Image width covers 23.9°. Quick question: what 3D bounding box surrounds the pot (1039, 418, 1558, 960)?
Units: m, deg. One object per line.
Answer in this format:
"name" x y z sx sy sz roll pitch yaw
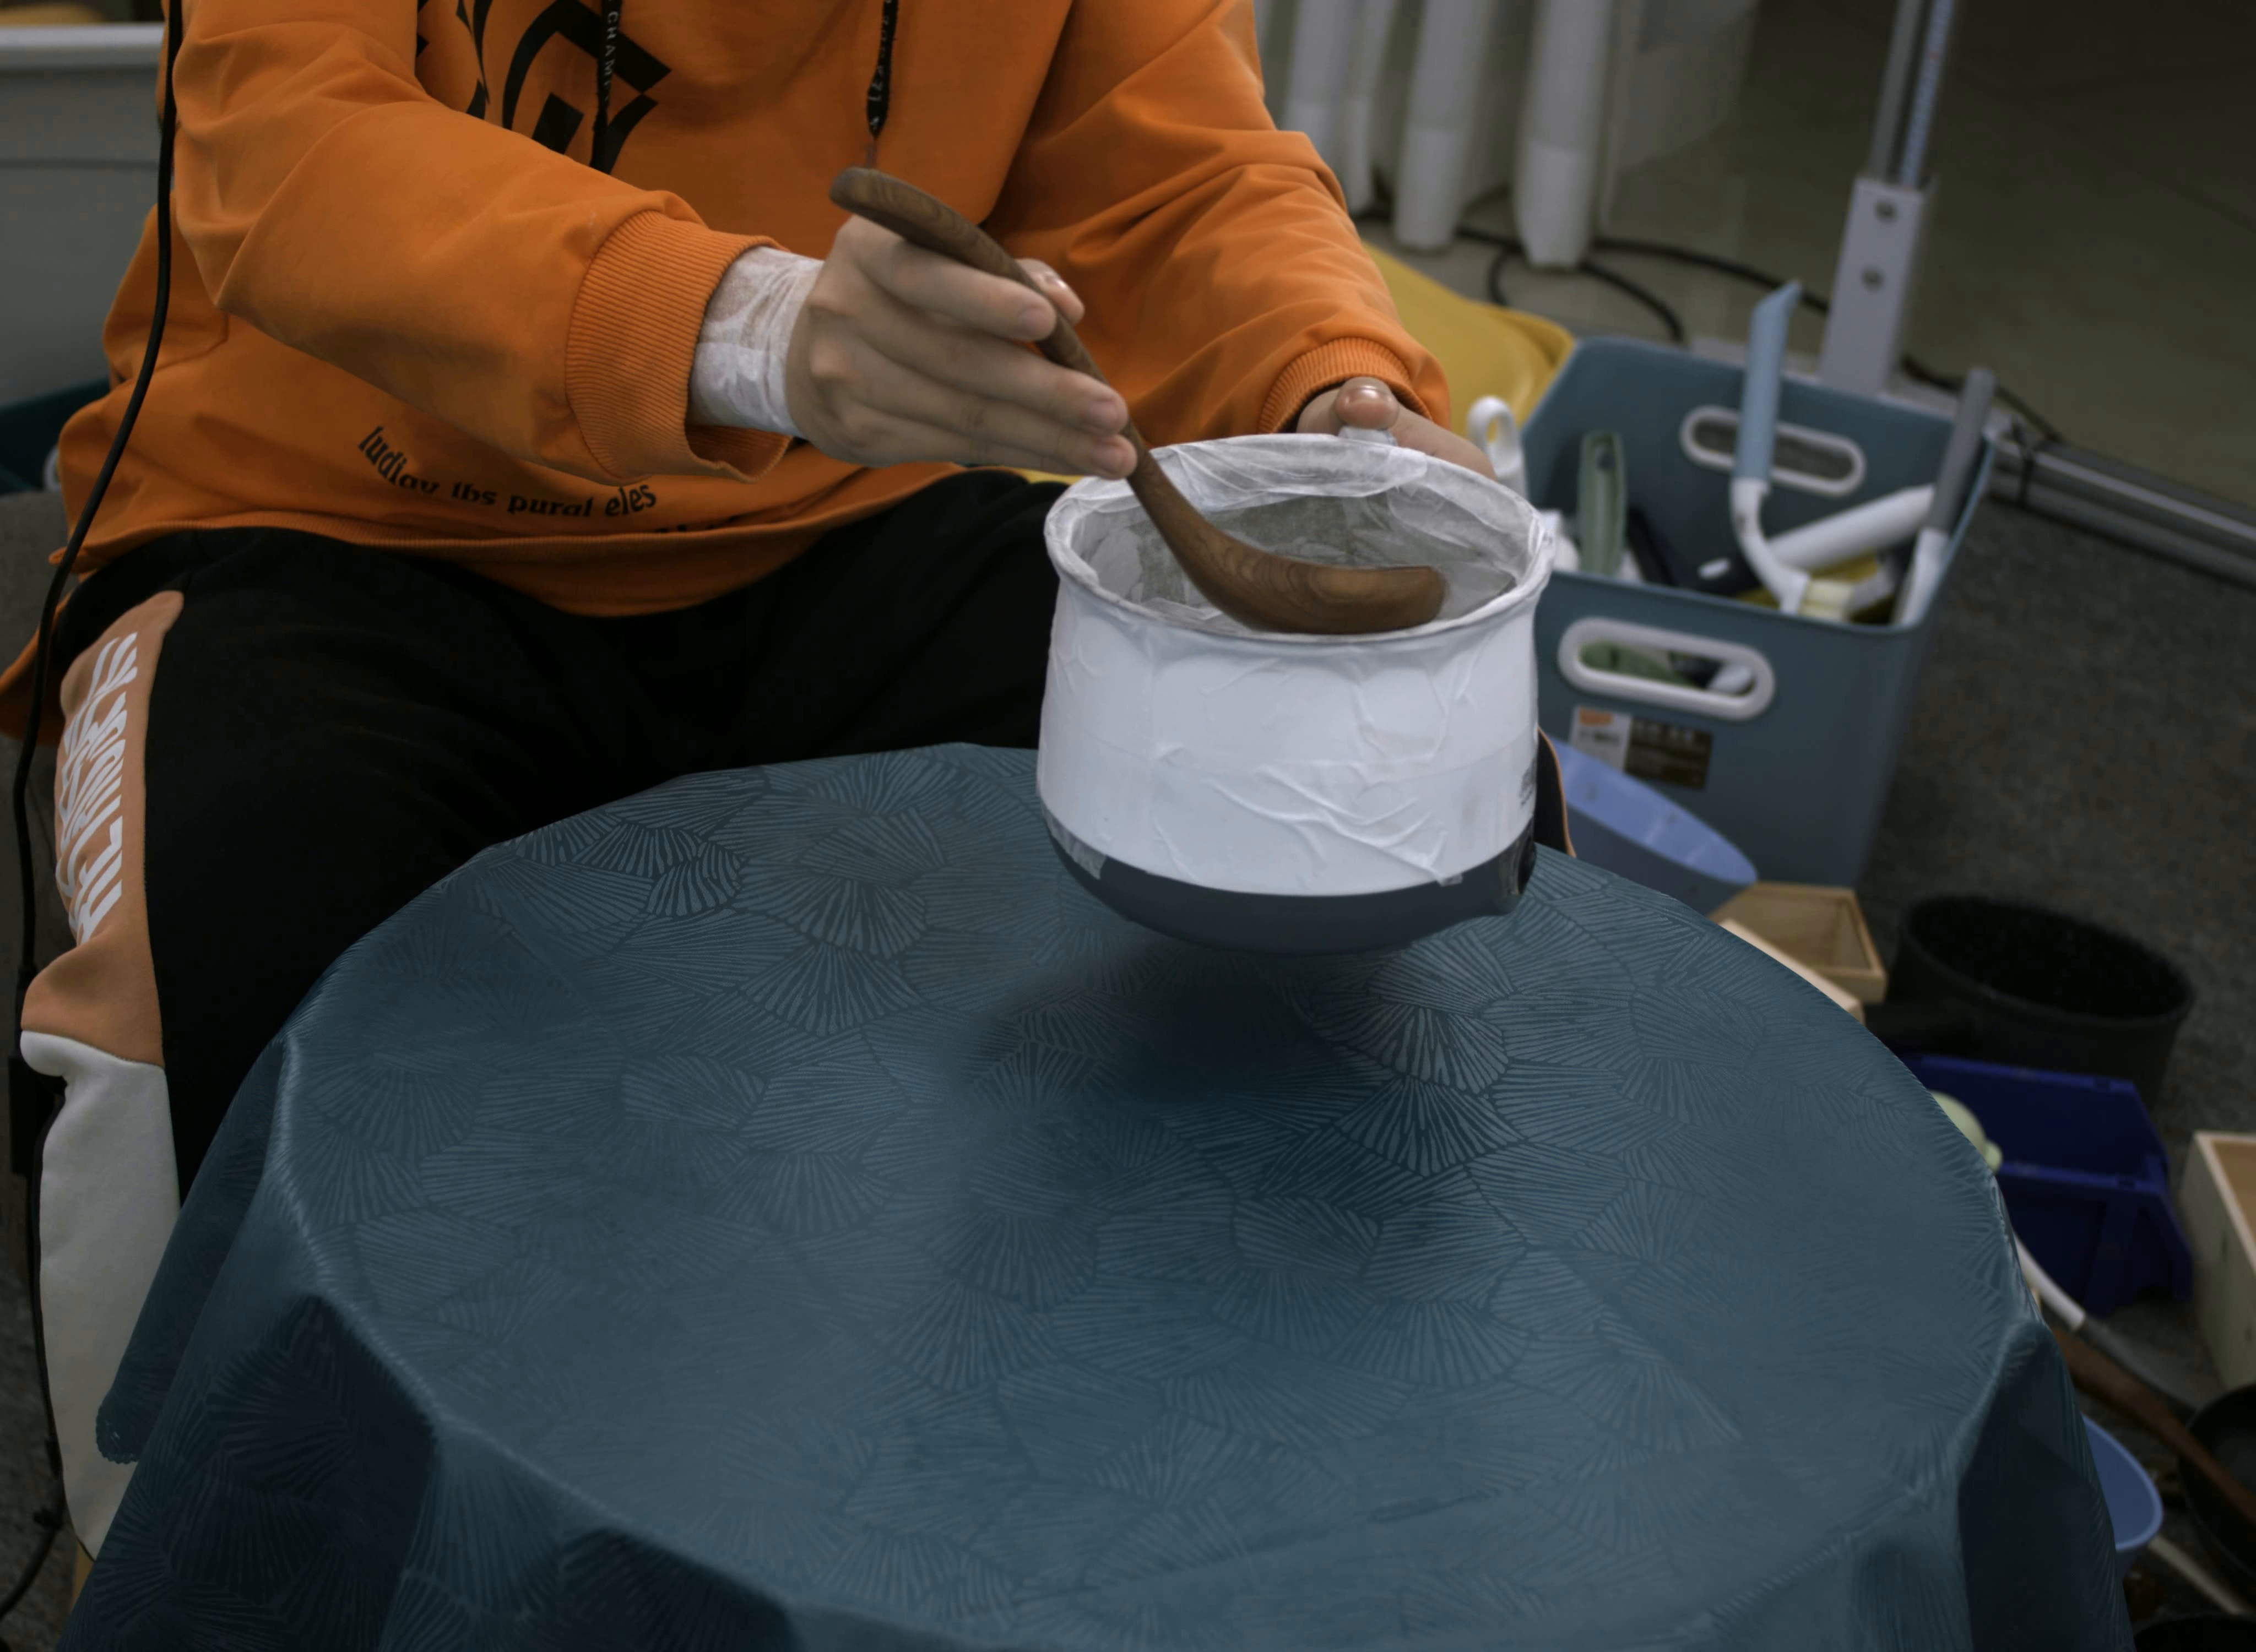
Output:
"pot" 0.064 -0.056 1.890 0.179 0.136 0.234 8 27 12

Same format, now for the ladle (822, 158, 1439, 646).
"ladle" 0.003 -0.144 1.750 0.065 0.258 0.077 -54 24 -22
